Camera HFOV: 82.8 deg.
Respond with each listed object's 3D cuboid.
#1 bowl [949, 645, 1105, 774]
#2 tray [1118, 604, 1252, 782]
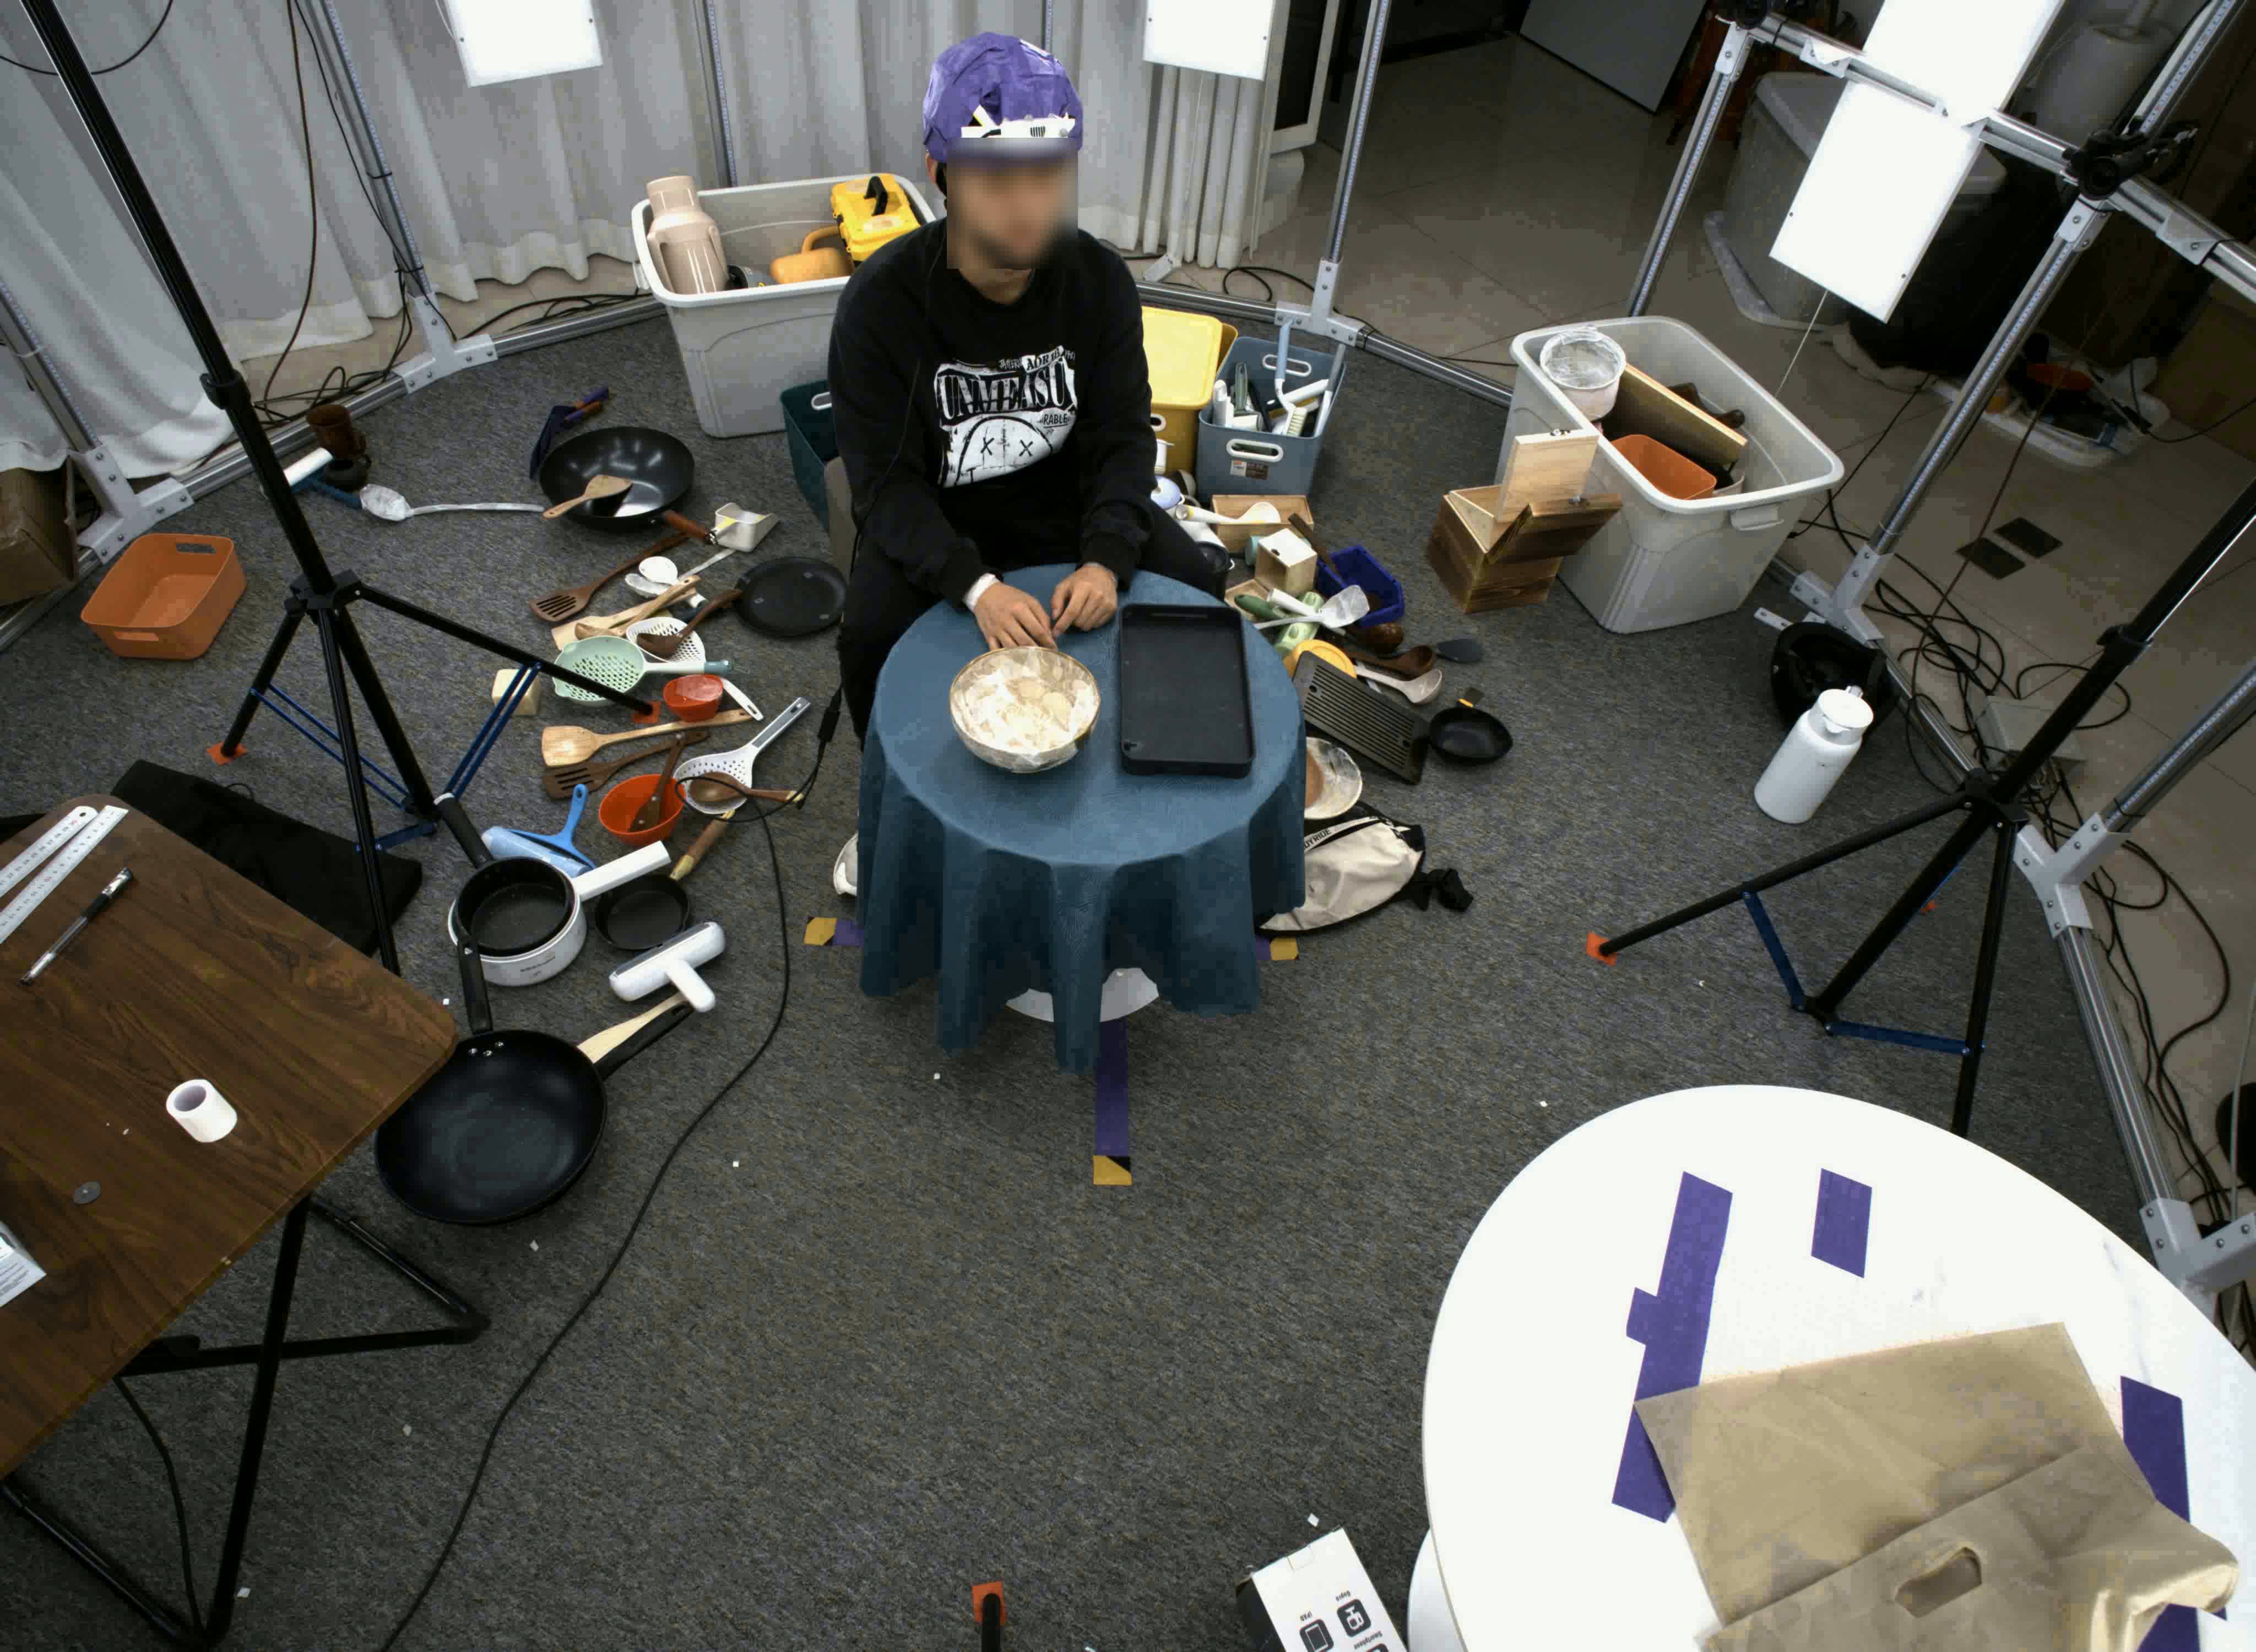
[{"bbox_3d":[-0.134,-0.144,1.740,0.214,0.092,0.220,1,49,-1],"label":"bowl"},{"bbox_3d":[0.079,-0.196,1.840,0.184,0.036,0.326,3,50,-2],"label":"tray"}]
